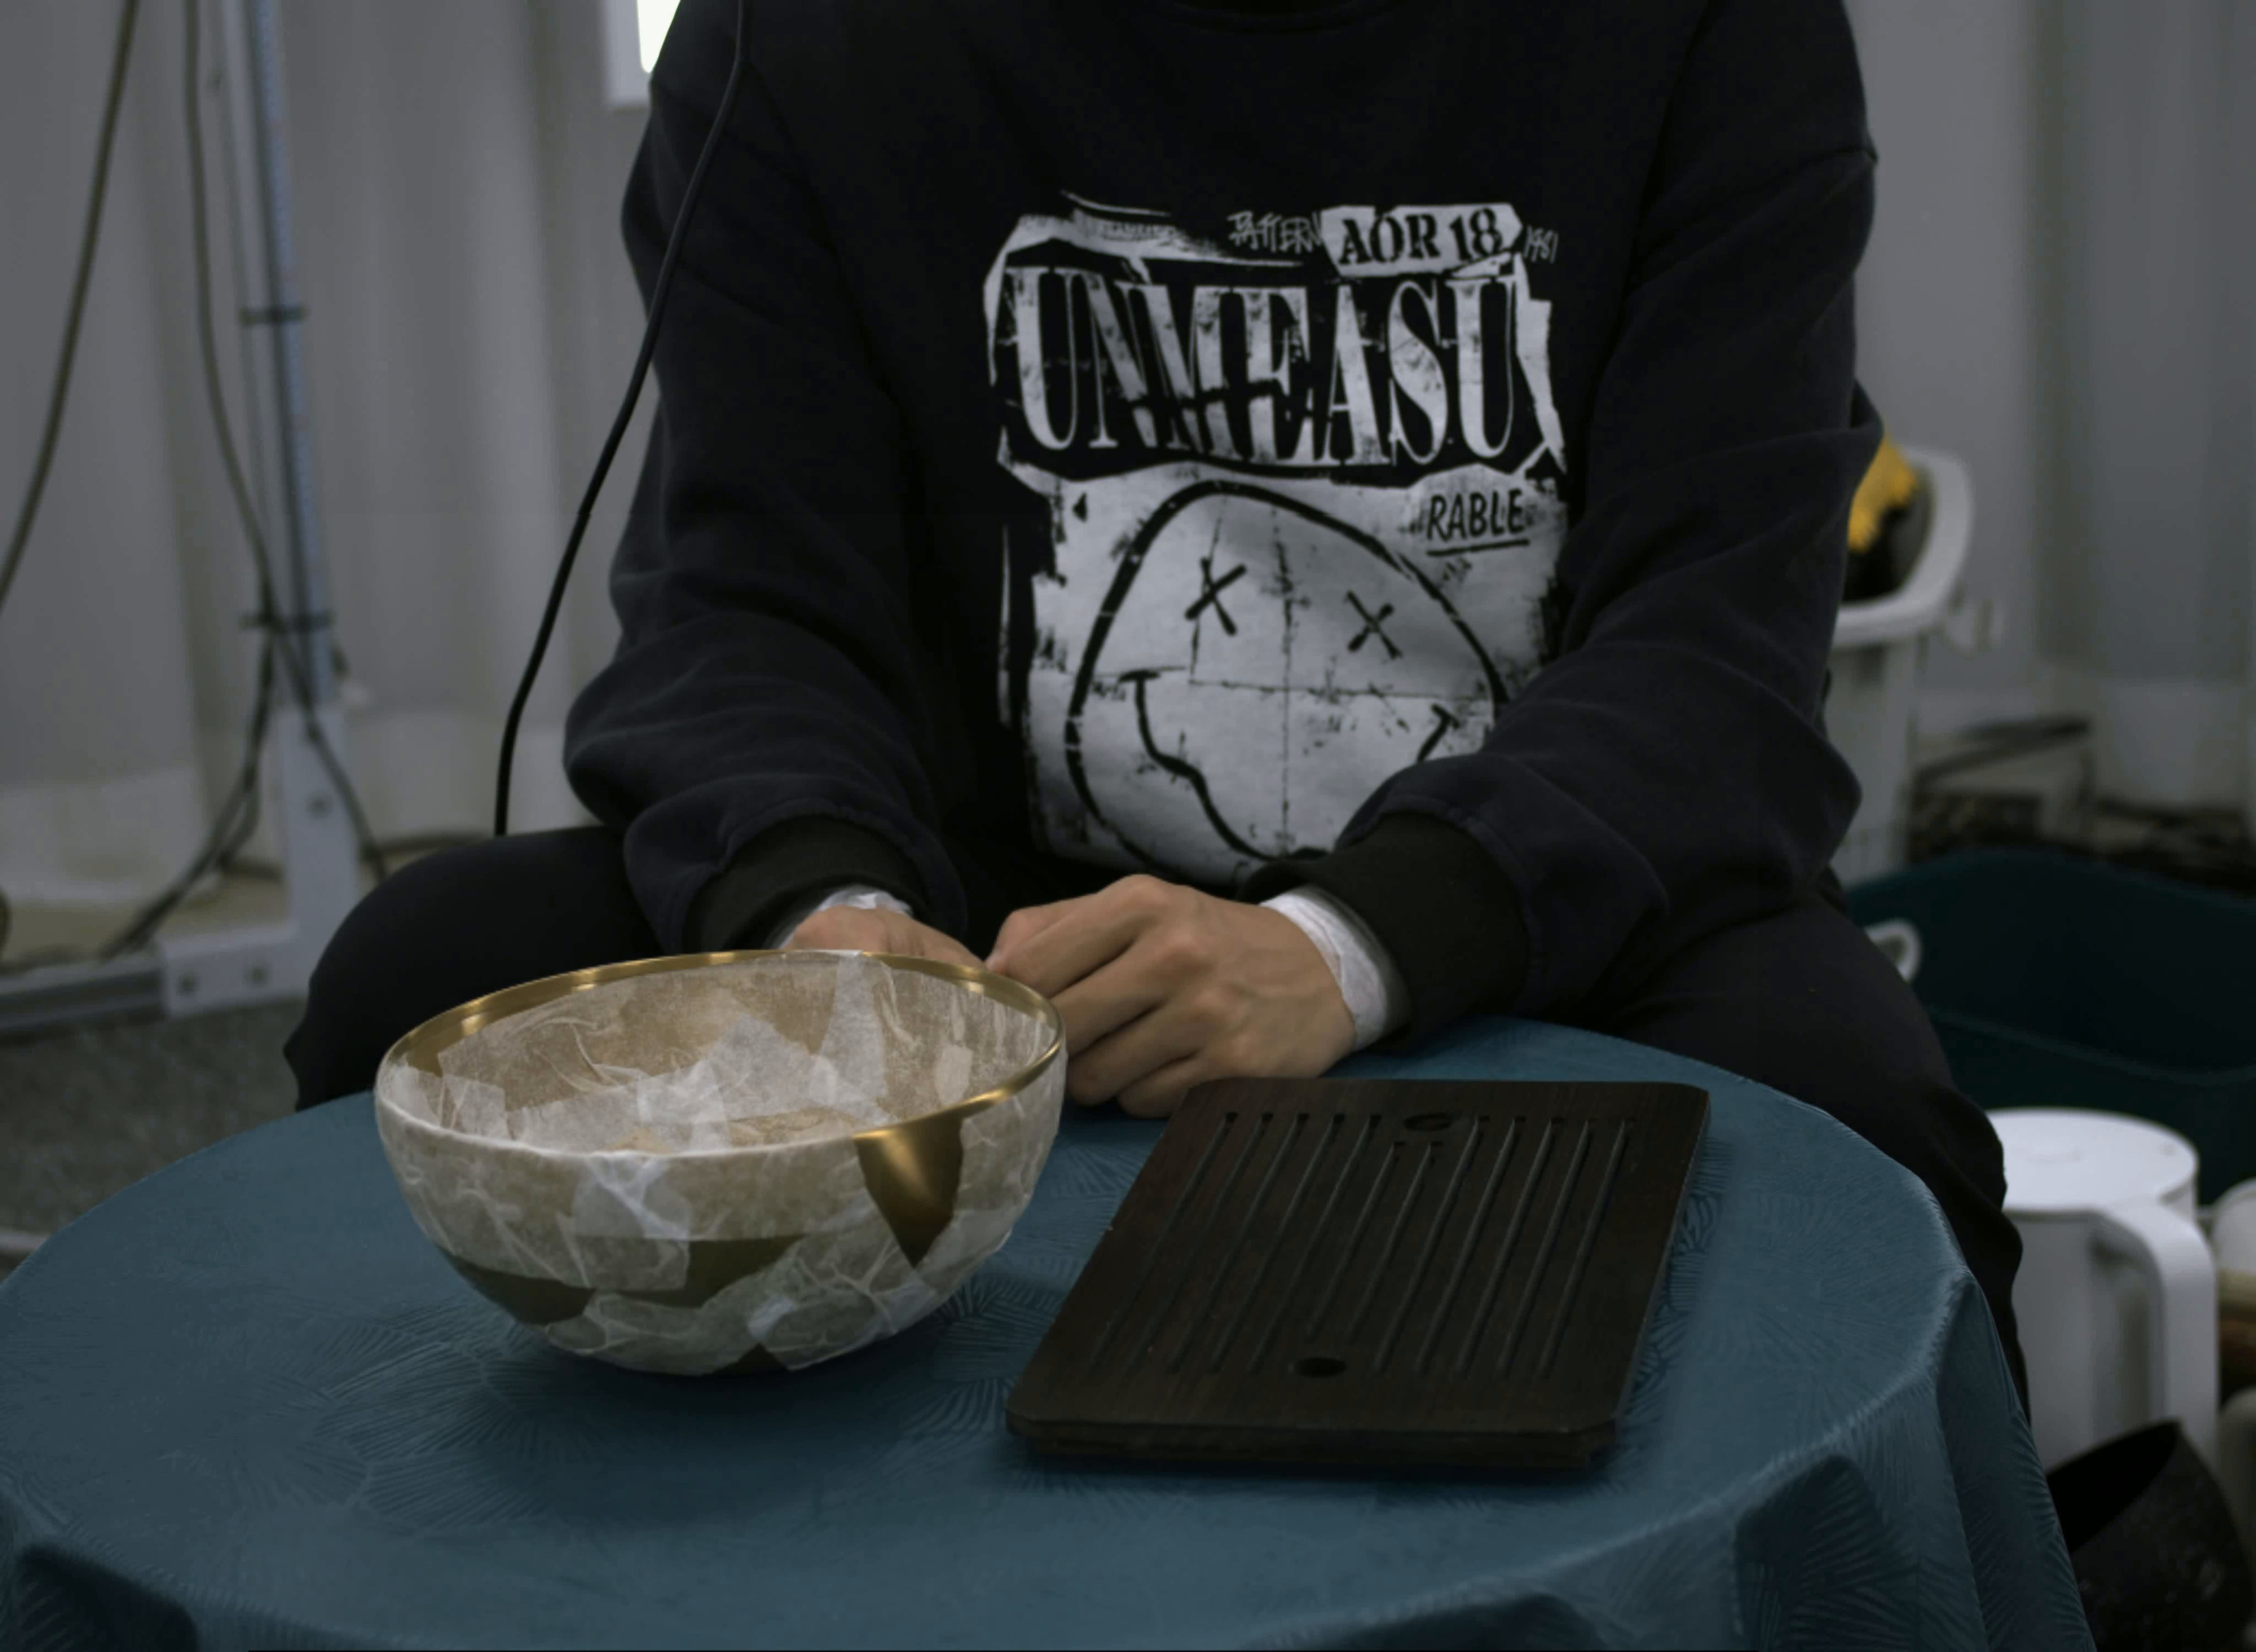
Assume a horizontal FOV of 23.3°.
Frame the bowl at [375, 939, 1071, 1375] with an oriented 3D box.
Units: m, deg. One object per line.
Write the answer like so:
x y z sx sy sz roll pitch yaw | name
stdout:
-0.111 0.104 1.595 0.214 0.094 0.216 -4 14 1 | bowl

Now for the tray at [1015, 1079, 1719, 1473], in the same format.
0.078 0.130 1.610 0.170 0.018 0.307 0 15 11 | tray
